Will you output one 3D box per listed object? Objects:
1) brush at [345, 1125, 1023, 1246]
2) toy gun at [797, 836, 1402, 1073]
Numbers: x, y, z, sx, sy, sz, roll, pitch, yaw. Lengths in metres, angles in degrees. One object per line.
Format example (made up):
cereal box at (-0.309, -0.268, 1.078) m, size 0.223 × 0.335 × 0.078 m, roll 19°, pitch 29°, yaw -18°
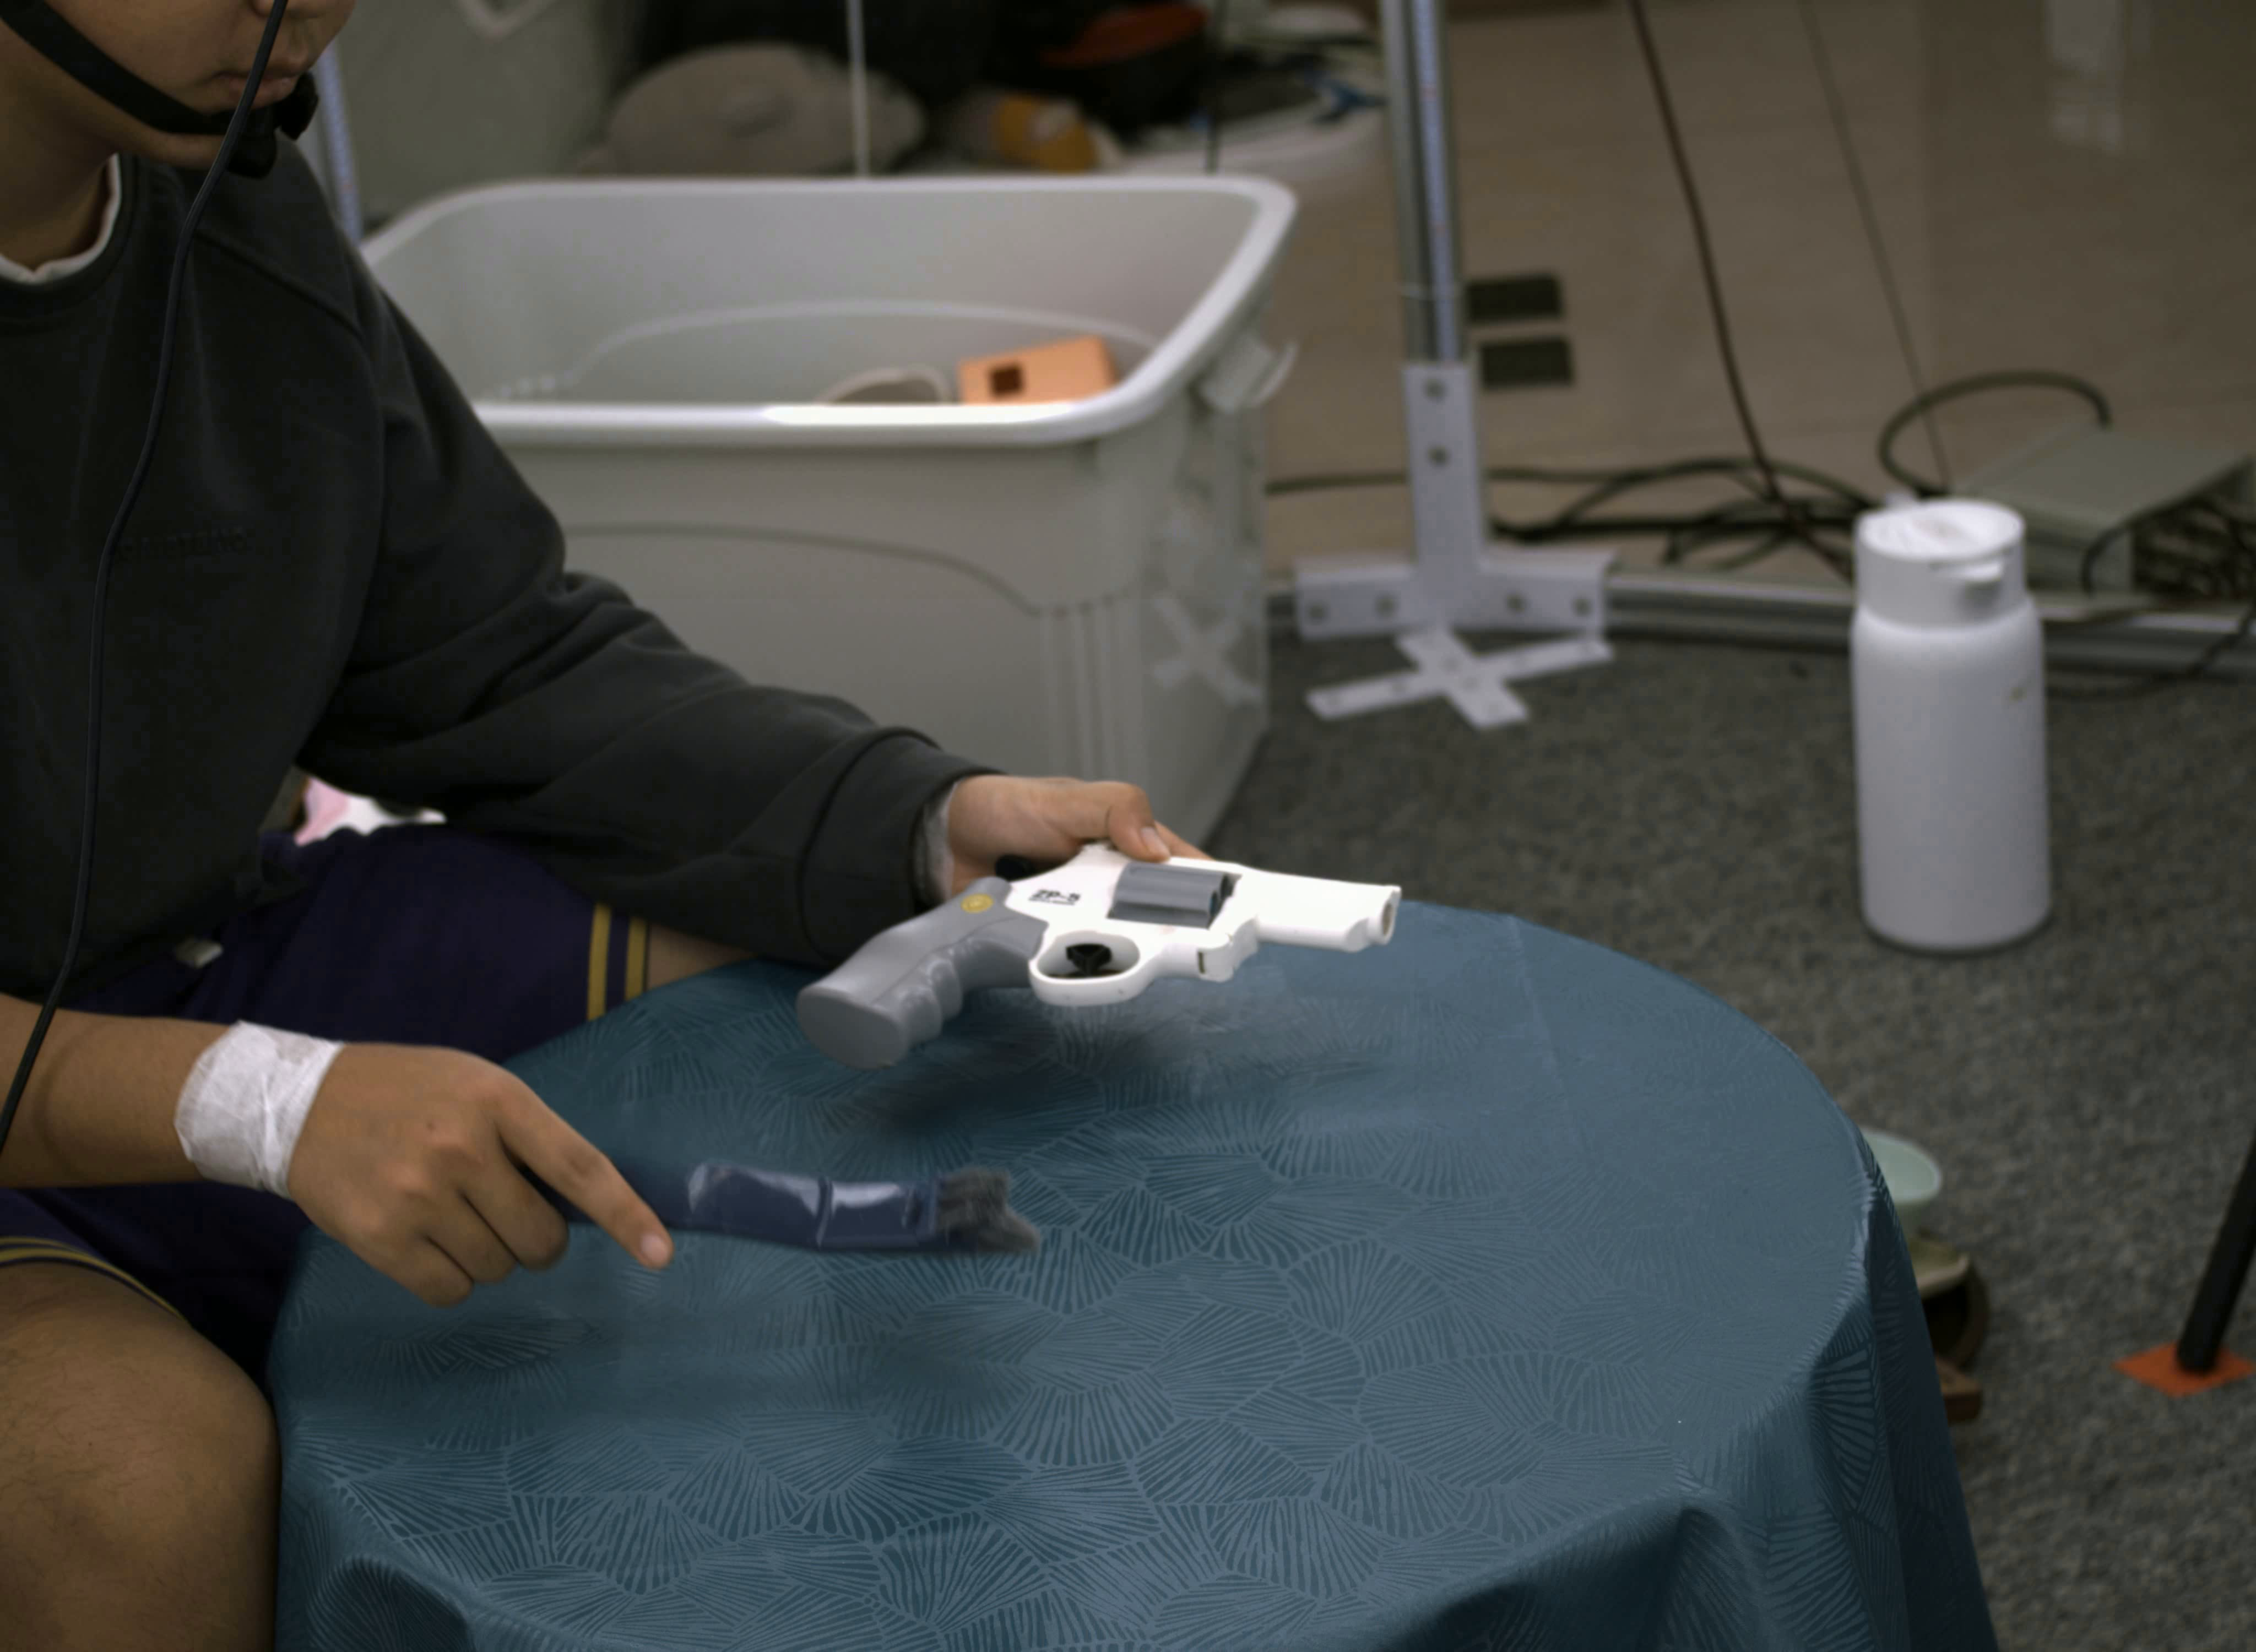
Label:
brush at (-0.169, 0.127, 2.036) m, size 0.272 × 0.033 × 0.096 m, roll 3°, pitch -13°, yaw 18°
toy gun at (-0.011, 0.050, 2.197) m, size 0.208 × 0.039 × 0.139 m, roll 5°, pitch 34°, yaw 21°
